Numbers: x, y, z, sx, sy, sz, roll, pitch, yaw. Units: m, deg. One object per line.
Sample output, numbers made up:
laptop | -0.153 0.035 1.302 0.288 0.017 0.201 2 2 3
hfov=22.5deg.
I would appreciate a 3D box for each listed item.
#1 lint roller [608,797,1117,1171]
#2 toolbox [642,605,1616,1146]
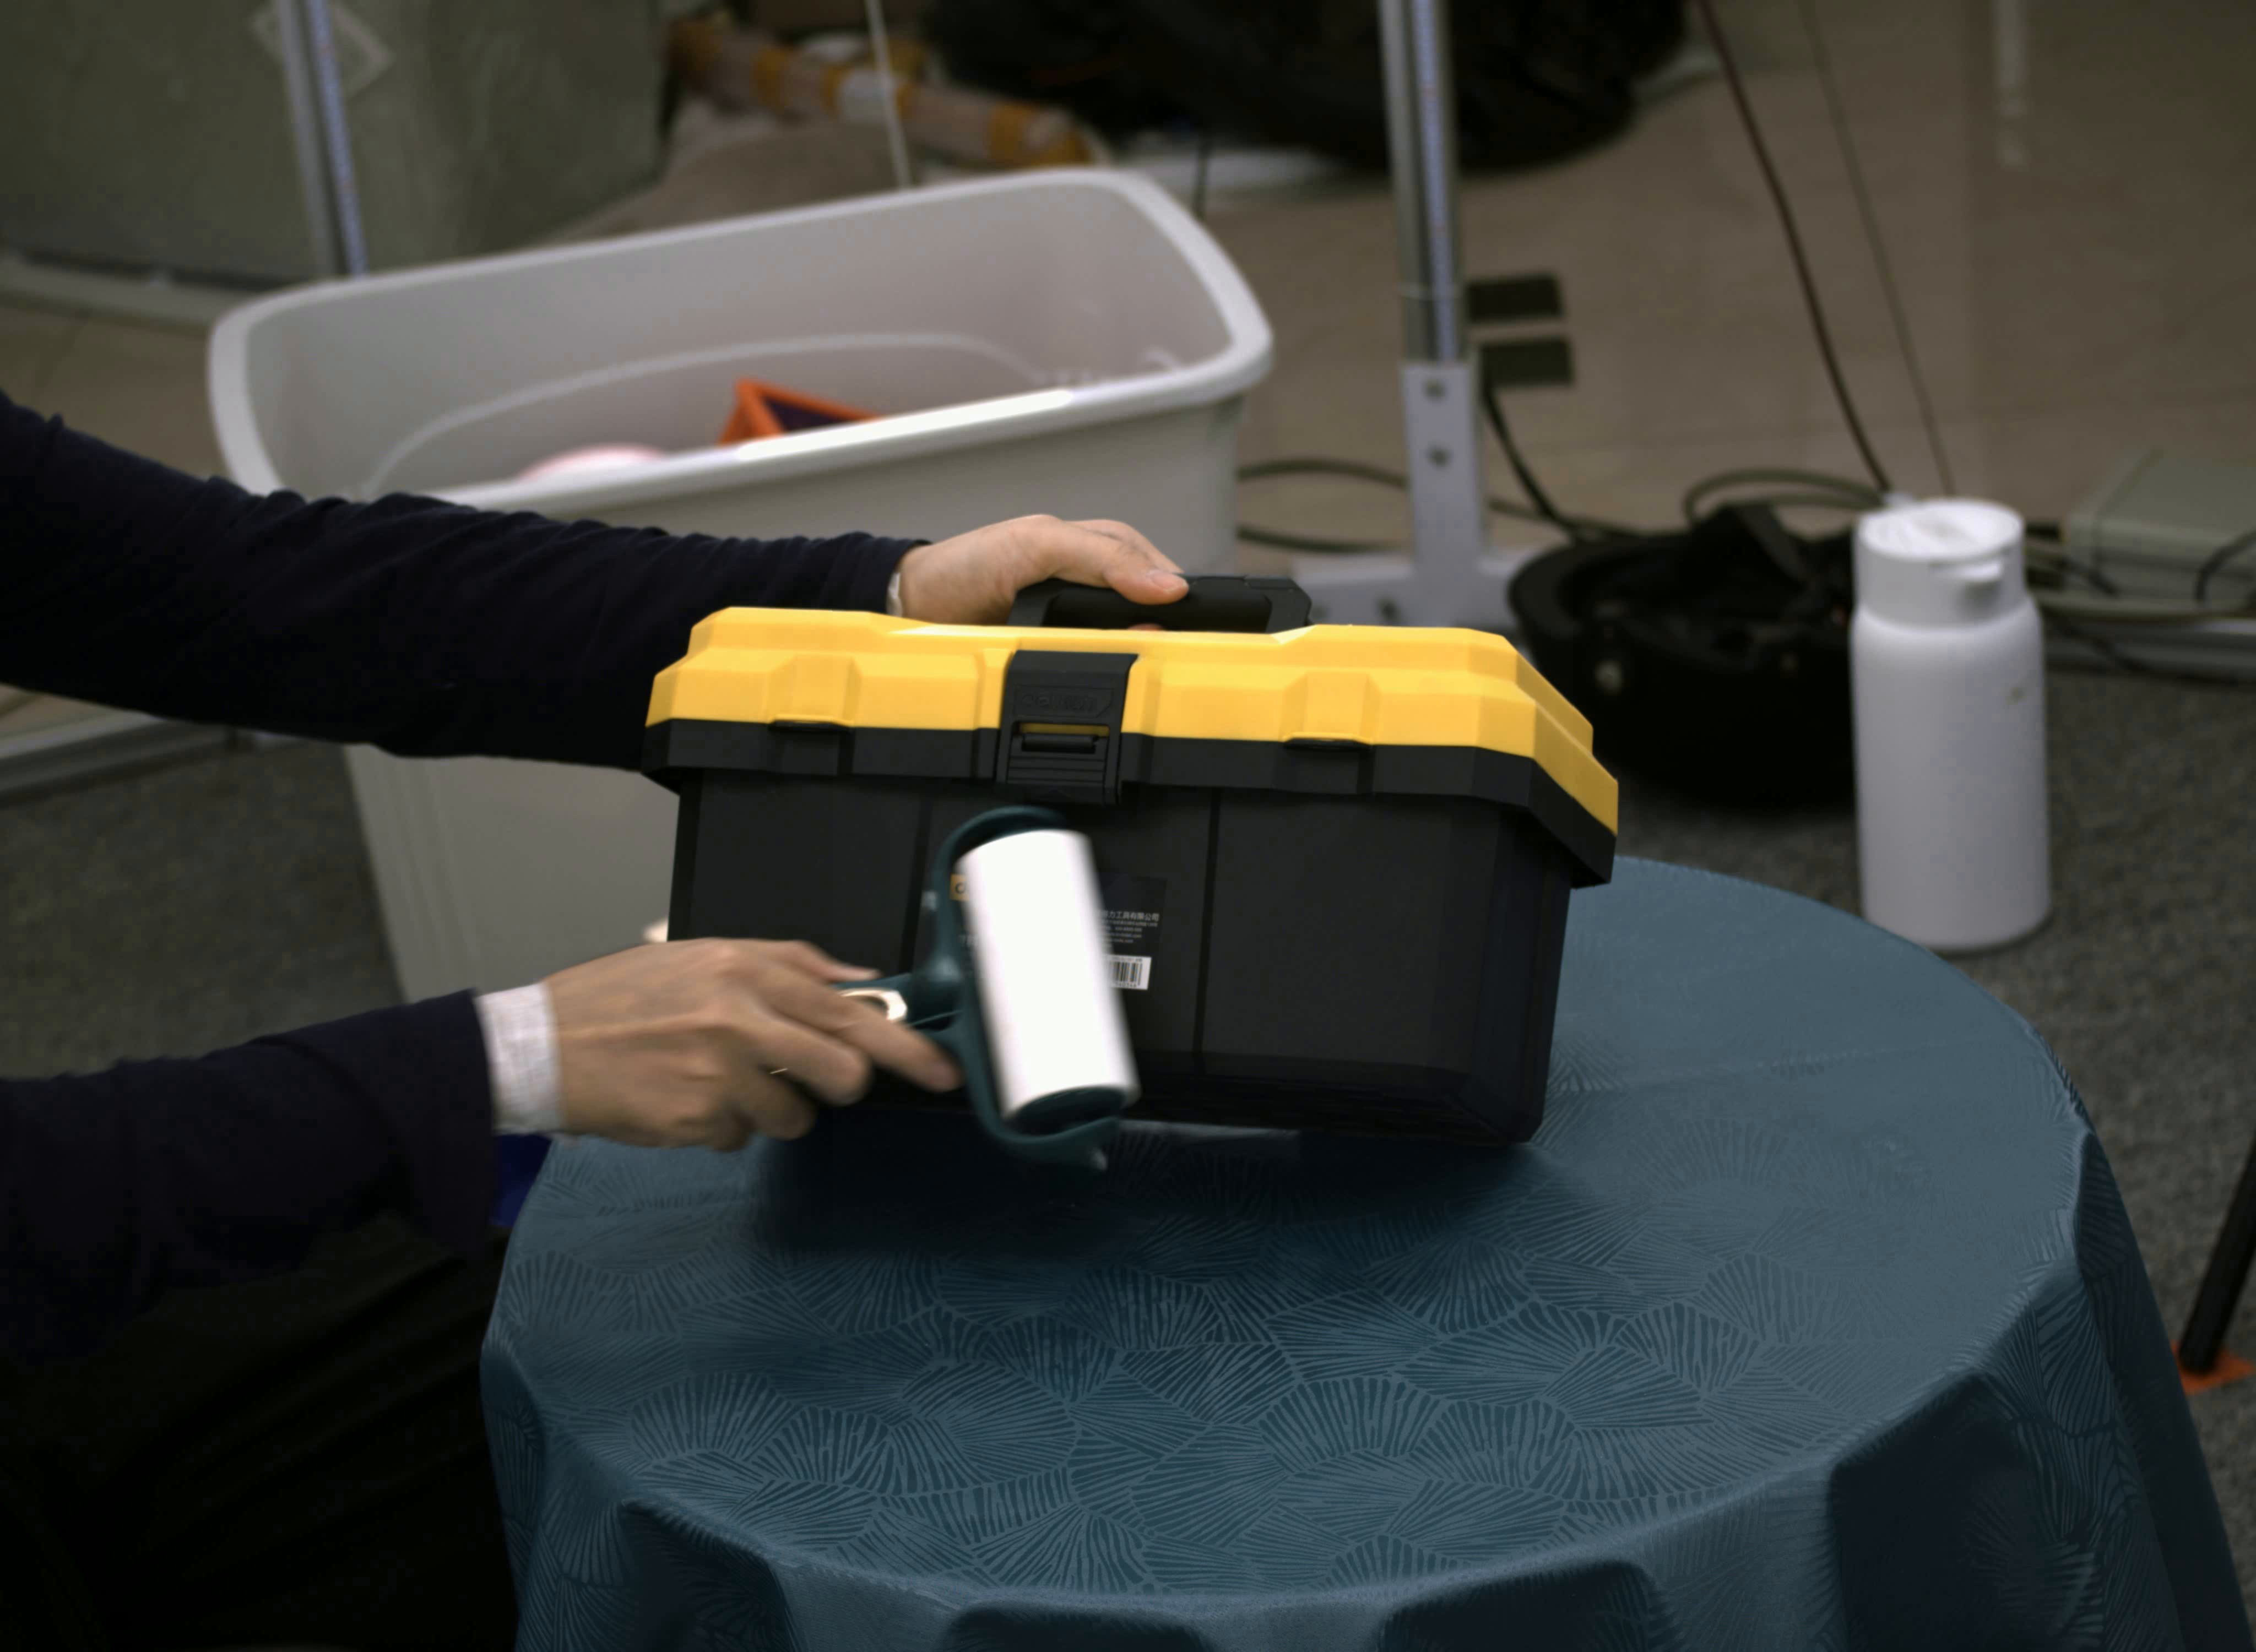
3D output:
lint roller | -0.102 0.071 2.058 0.180 0.133 0.049 -11 -18 -4
toolbox | -0.004 0.019 2.154 0.350 0.172 0.182 2 -11 19
